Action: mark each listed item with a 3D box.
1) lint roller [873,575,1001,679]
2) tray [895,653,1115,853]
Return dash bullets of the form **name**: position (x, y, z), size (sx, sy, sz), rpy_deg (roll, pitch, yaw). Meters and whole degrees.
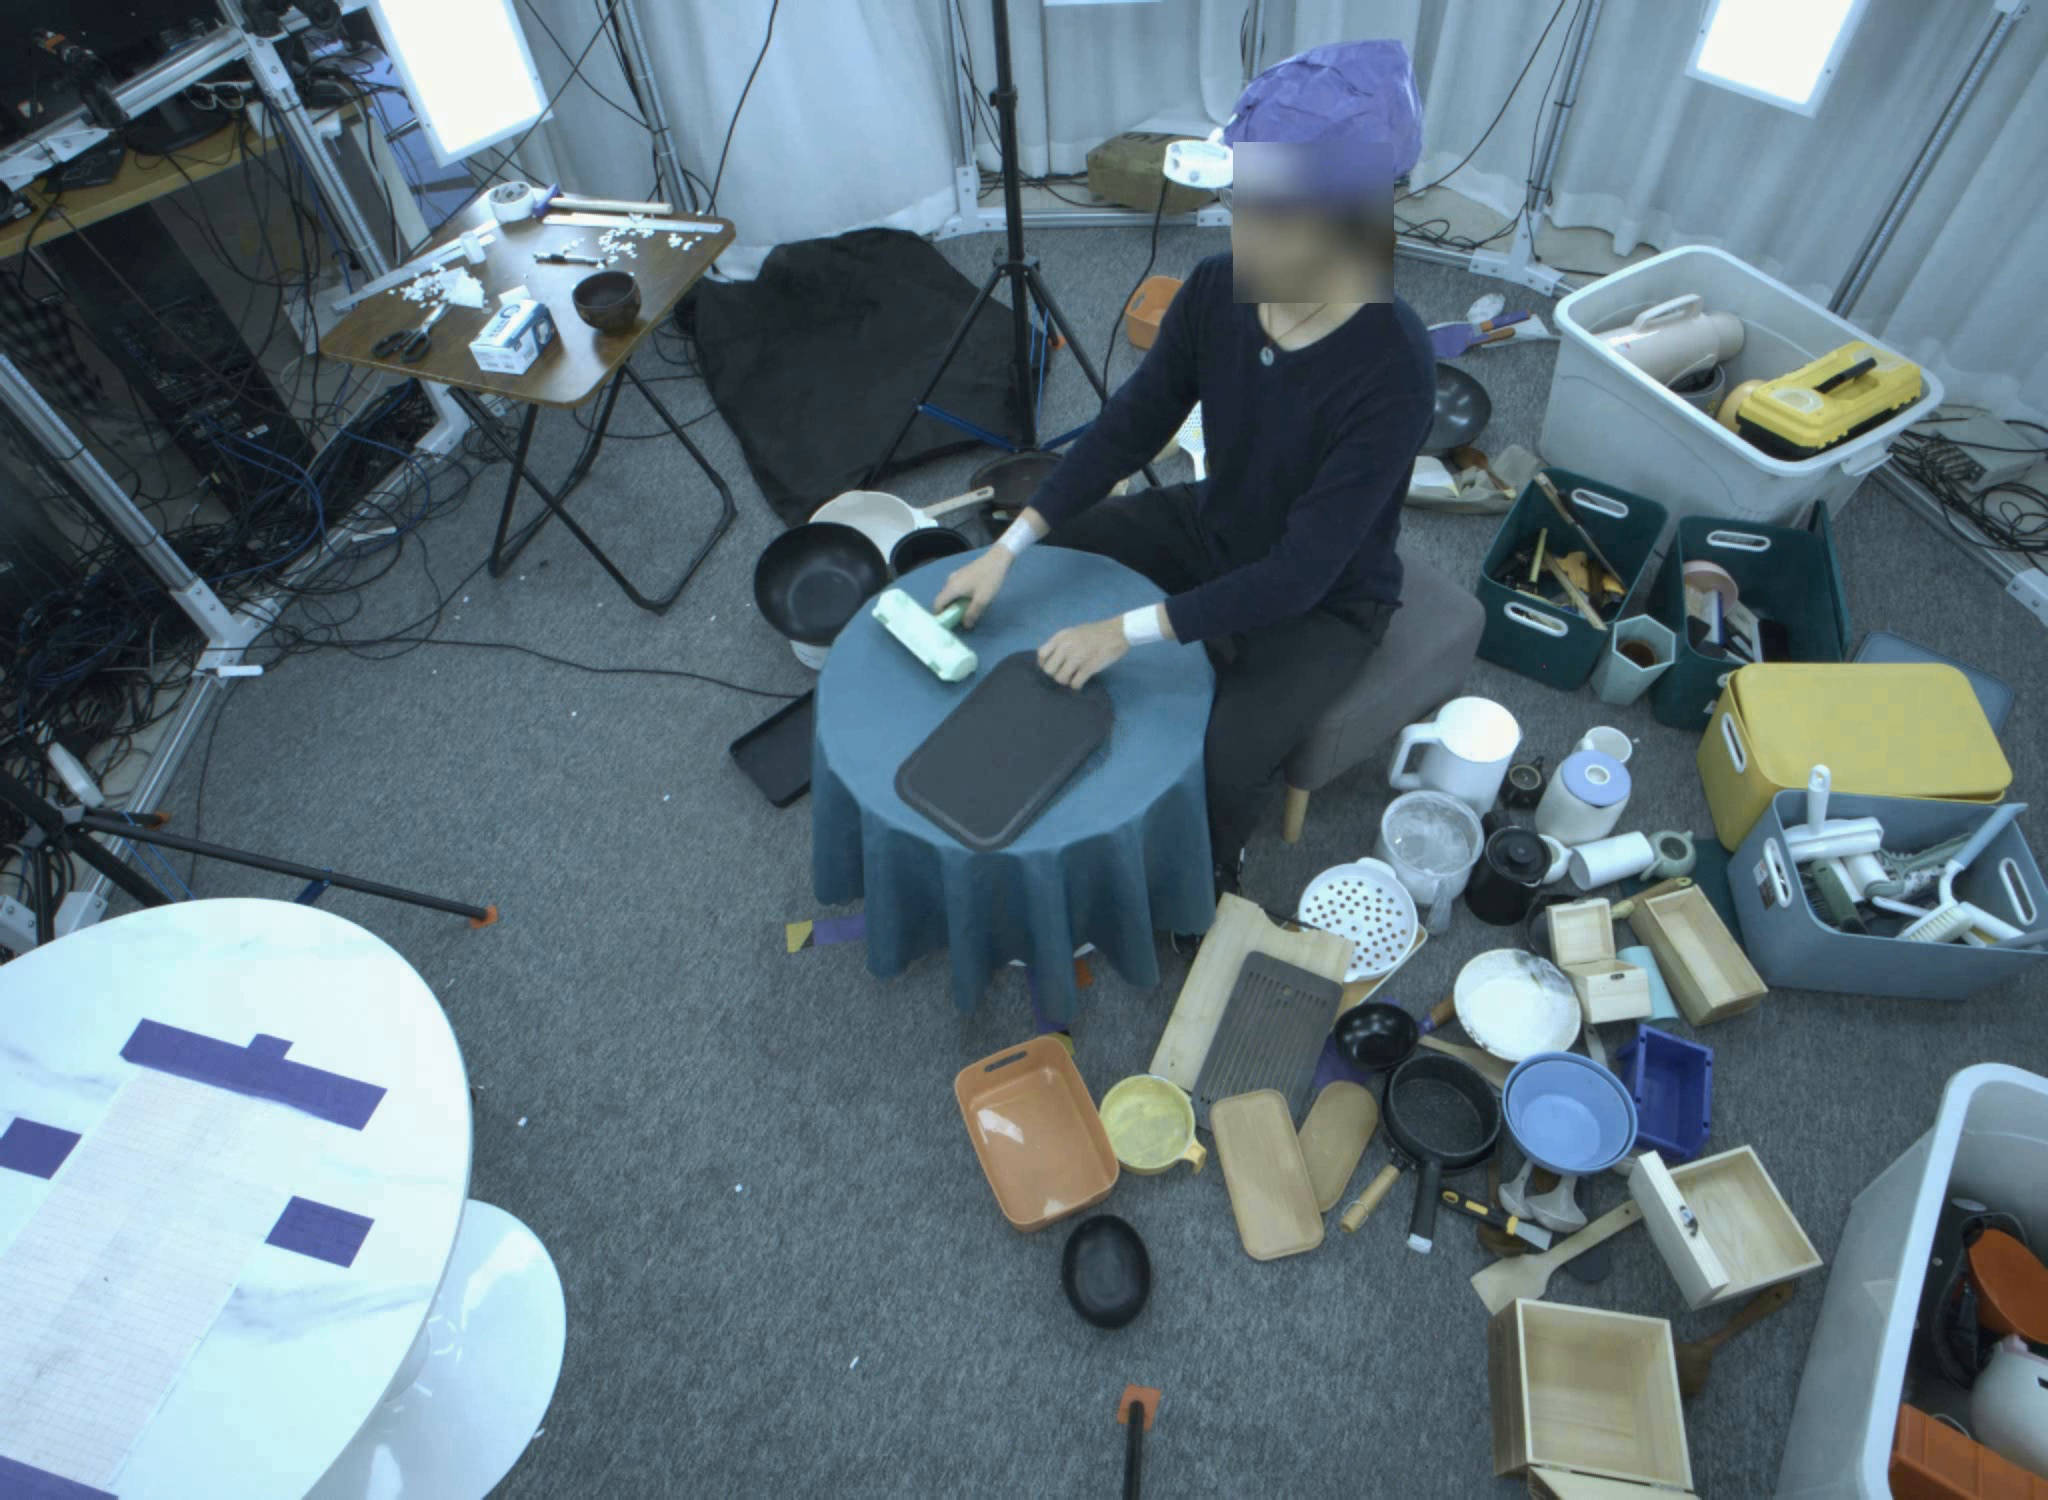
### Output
- **lint roller**: position (-0.113, -0.221, 1.885), size (0.184, 0.083, 0.195), rpy_deg (-44, 62, -8)
- **tray**: position (-0.023, -0.009, 1.772), size (0.207, 0.010, 0.327), rpy_deg (35, 69, 23)
